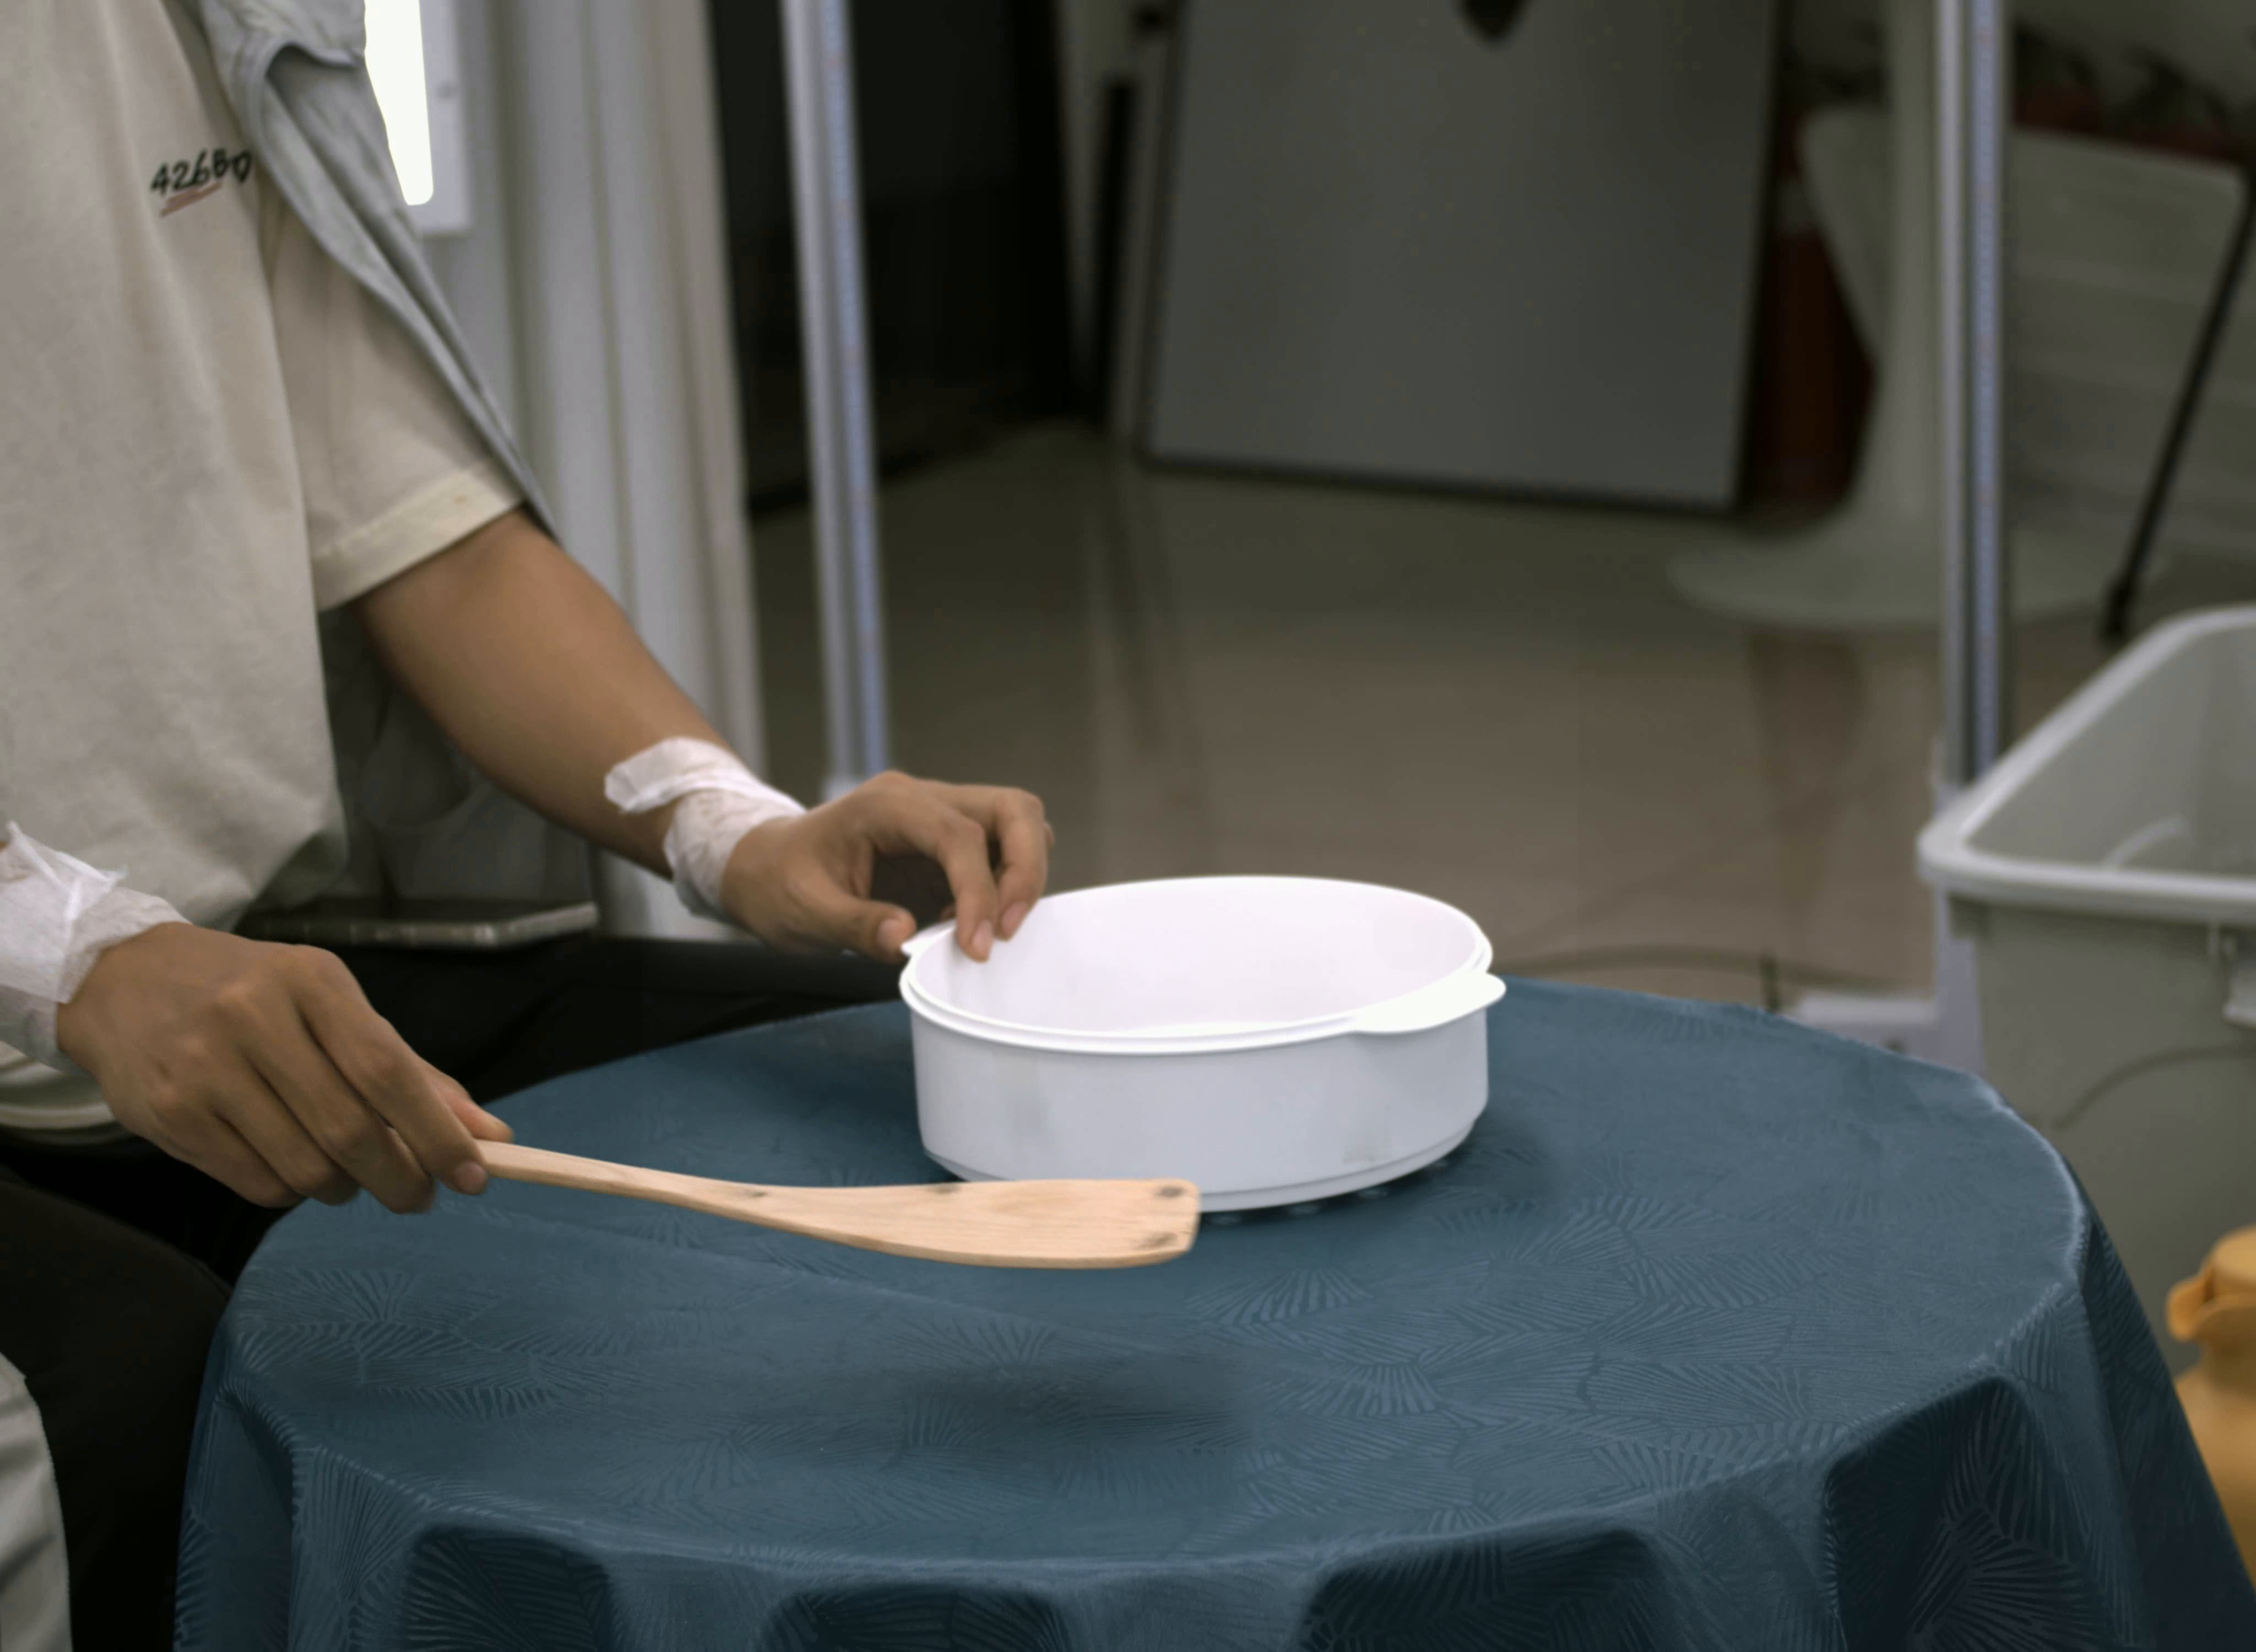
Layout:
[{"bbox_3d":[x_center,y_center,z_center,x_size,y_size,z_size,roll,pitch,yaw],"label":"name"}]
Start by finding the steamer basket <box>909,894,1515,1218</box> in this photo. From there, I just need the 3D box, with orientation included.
[{"bbox_3d":[0.027,0.077,1.810,0.232,0.070,0.198,6,16,40],"label":"steamer basket"}]

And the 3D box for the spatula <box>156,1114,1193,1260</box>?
[{"bbox_3d":[-0.135,0.102,1.600,0.326,0.017,0.079,5,13,15],"label":"spatula"}]
